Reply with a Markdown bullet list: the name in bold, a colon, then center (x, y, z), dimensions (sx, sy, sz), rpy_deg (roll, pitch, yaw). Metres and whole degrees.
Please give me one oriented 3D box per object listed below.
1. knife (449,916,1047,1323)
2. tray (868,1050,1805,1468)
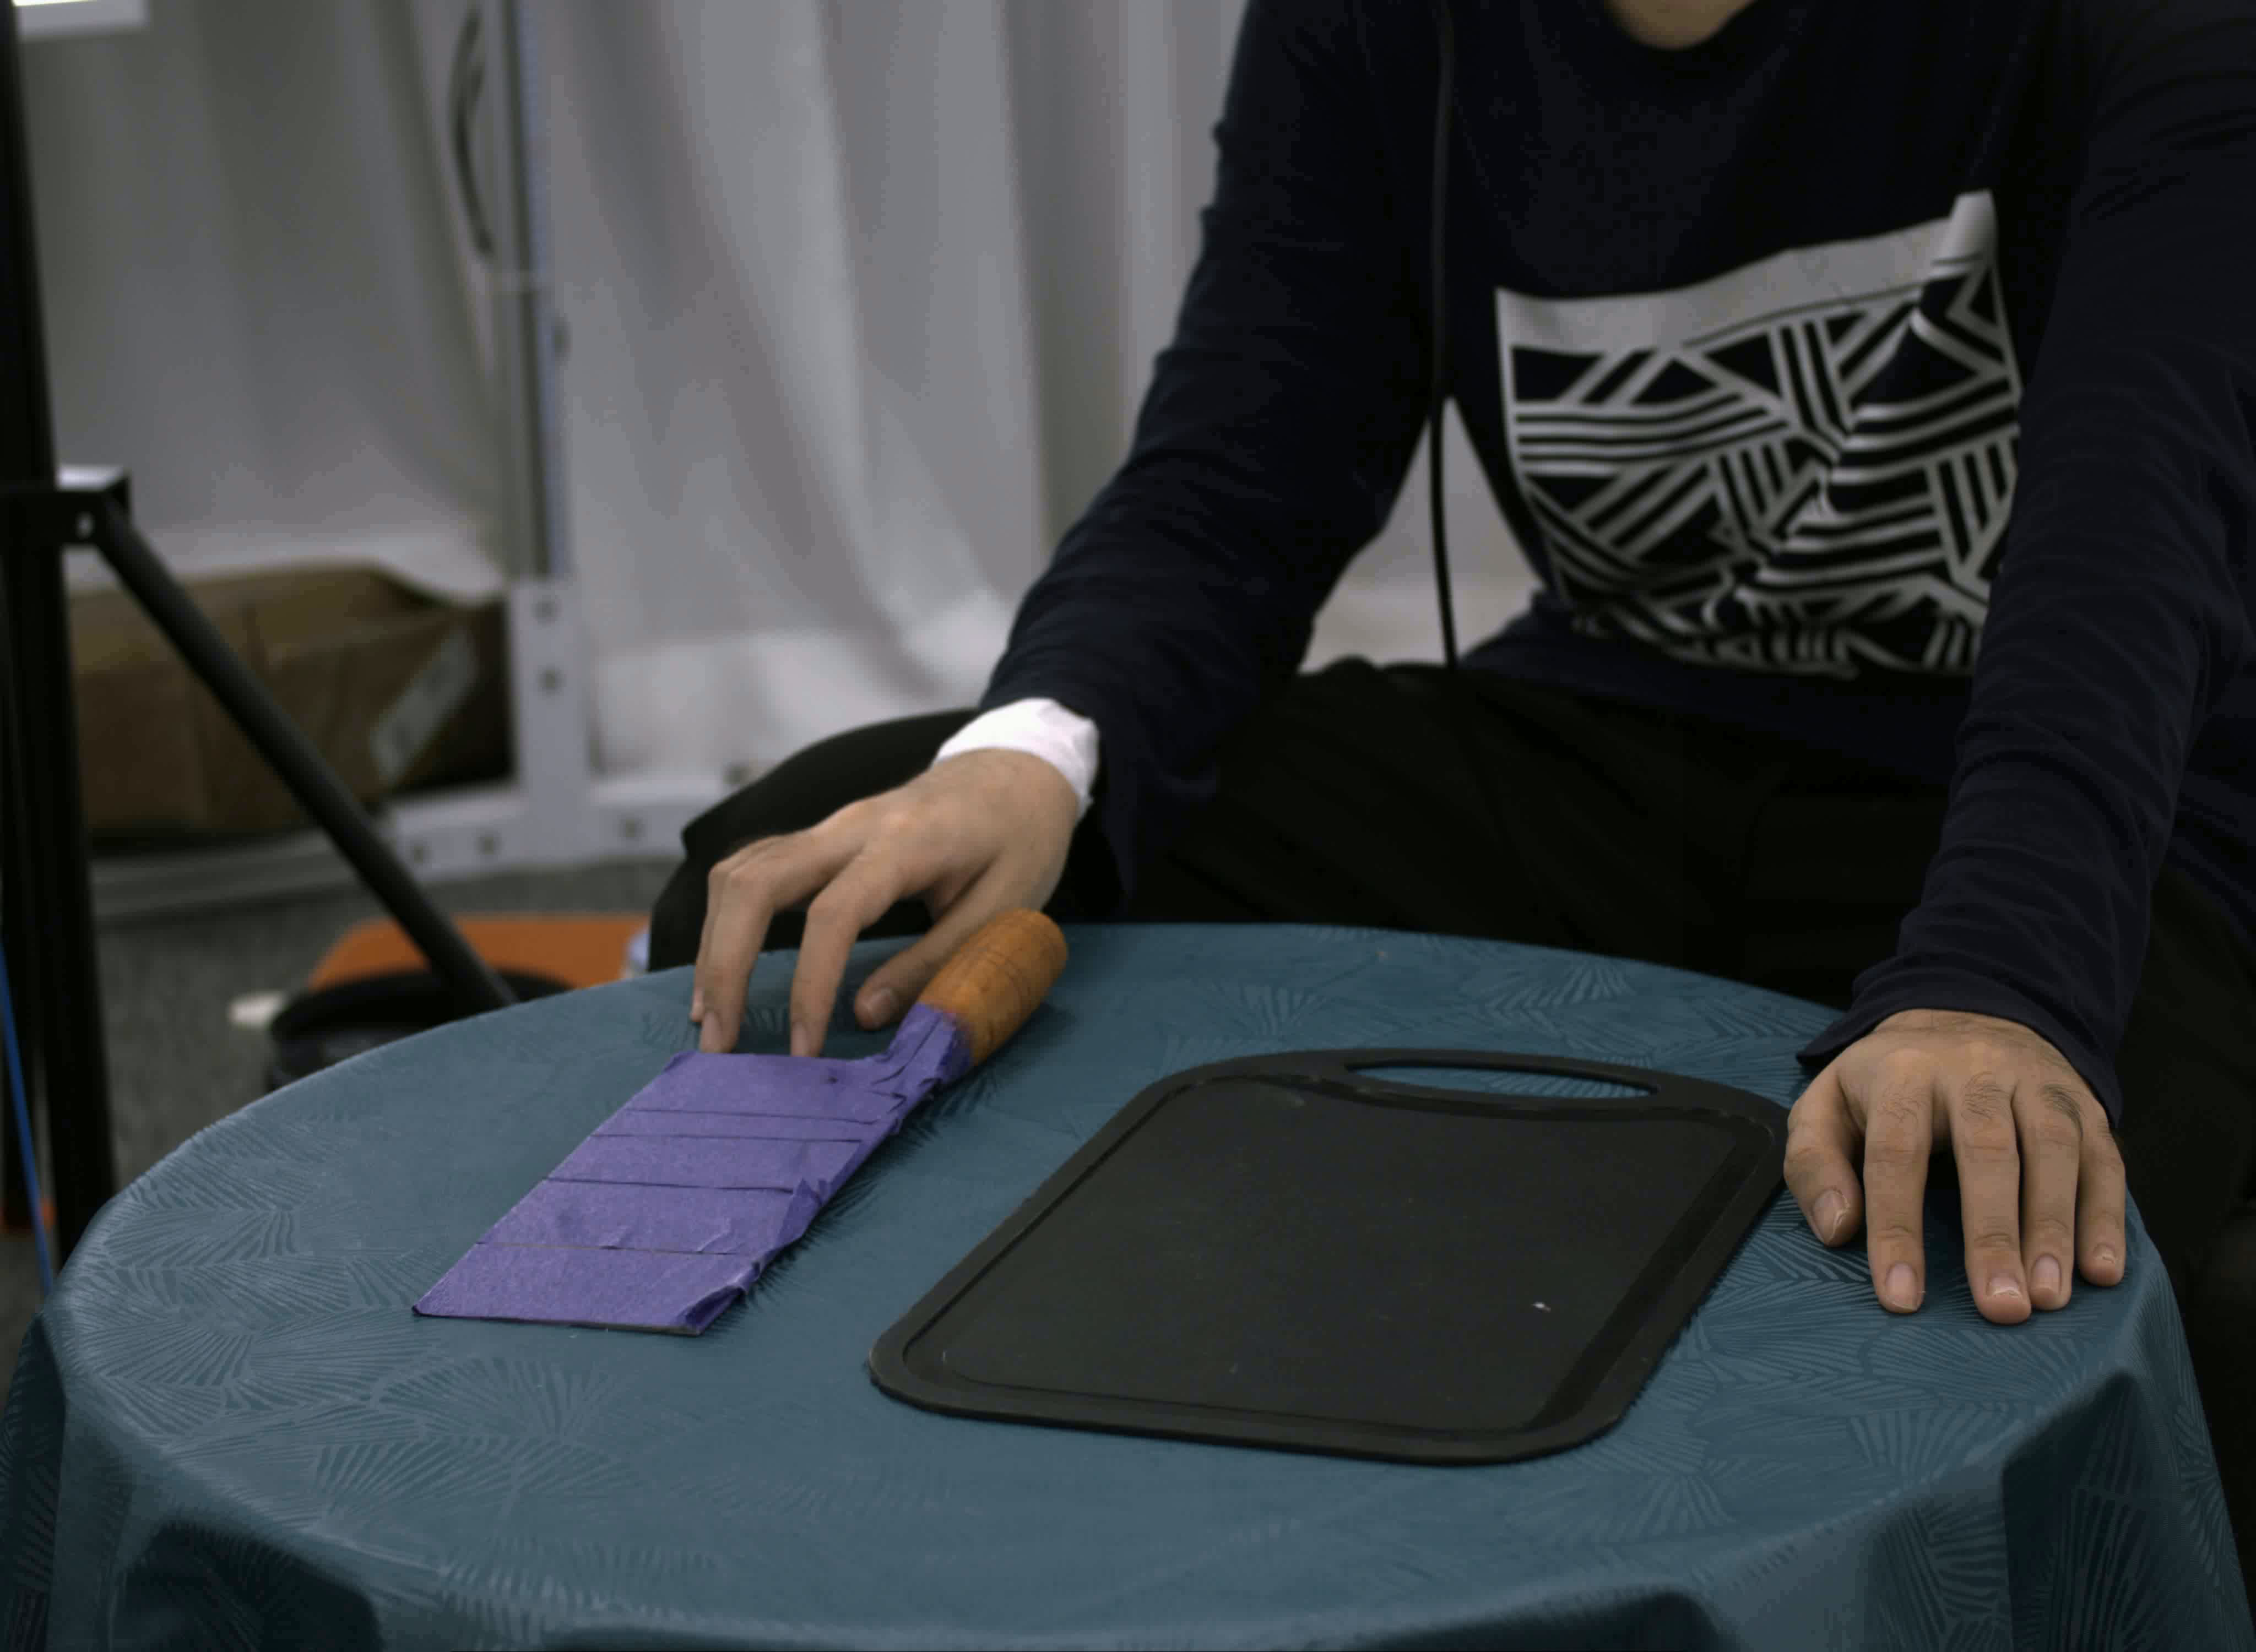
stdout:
- **knife**: center (-0.111, 0.085, 1.611), dimensions (0.105, 0.032, 0.312), rpy_deg (3, 17, 17)
- **tray**: center (0.068, 0.114, 1.516), dimensions (0.213, 0.010, 0.321), rpy_deg (4, 17, 20)
